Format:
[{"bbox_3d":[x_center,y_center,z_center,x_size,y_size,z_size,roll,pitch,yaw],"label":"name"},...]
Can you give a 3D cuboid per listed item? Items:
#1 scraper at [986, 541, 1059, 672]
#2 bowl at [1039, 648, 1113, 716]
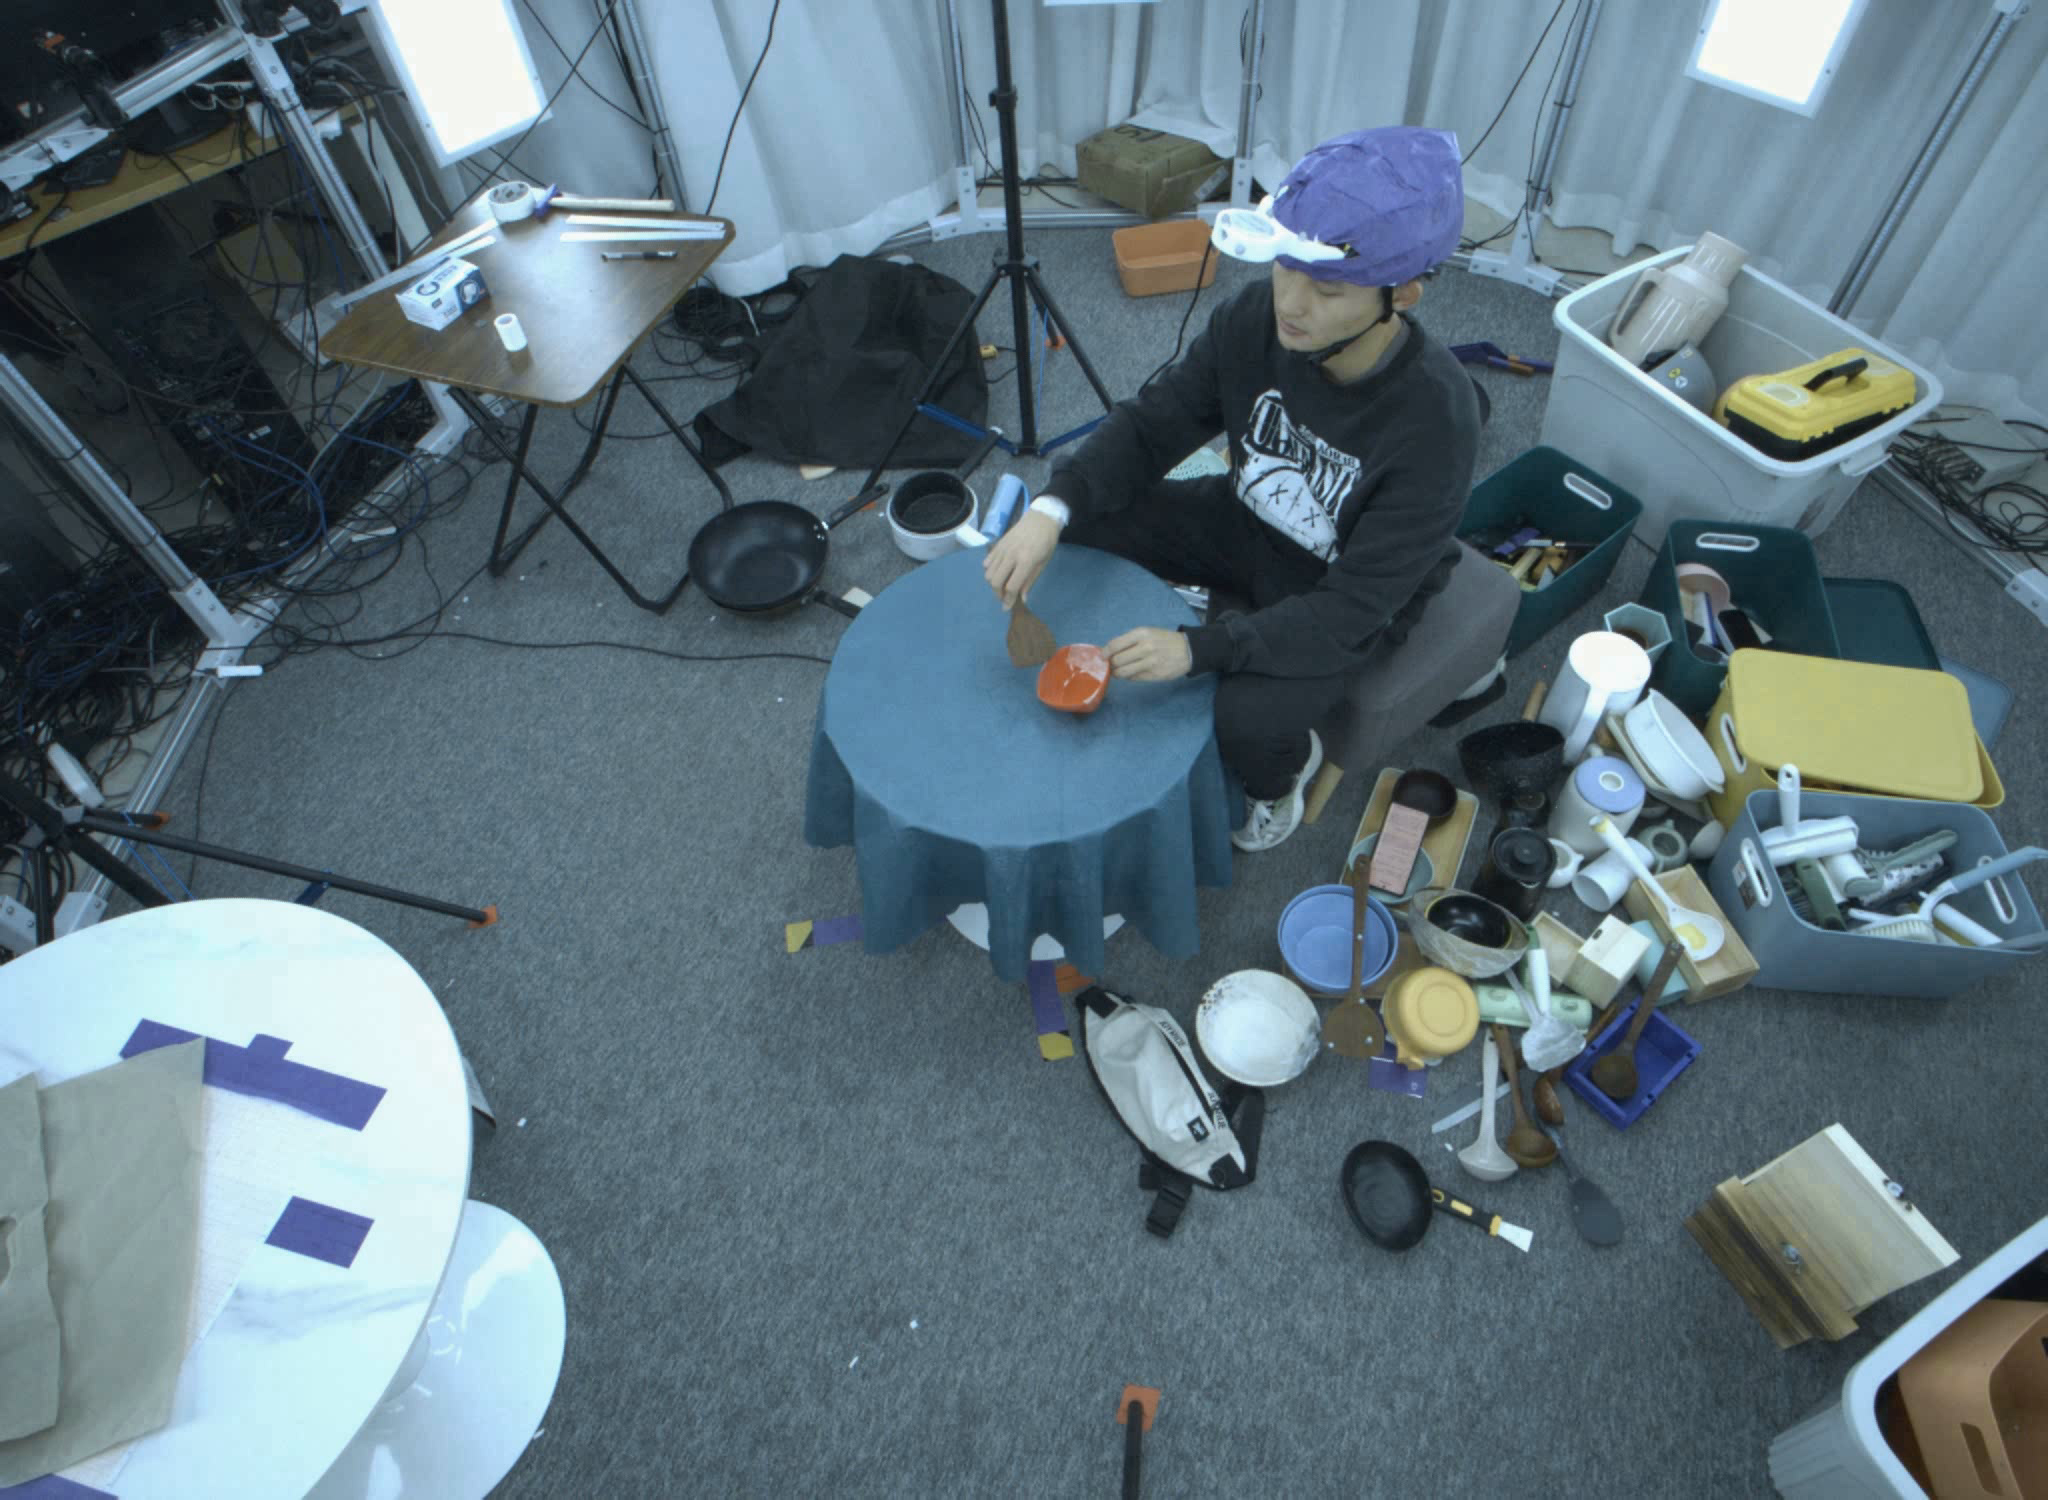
[{"bbox_3d":[-0.013,-0.216,1.825,0.076,0.011,0.210,-17,78,-11],"label":"scraper"},{"bbox_3d":[0.084,-0.093,1.817,0.117,0.052,0.118,-14,53,20],"label":"bowl"}]
